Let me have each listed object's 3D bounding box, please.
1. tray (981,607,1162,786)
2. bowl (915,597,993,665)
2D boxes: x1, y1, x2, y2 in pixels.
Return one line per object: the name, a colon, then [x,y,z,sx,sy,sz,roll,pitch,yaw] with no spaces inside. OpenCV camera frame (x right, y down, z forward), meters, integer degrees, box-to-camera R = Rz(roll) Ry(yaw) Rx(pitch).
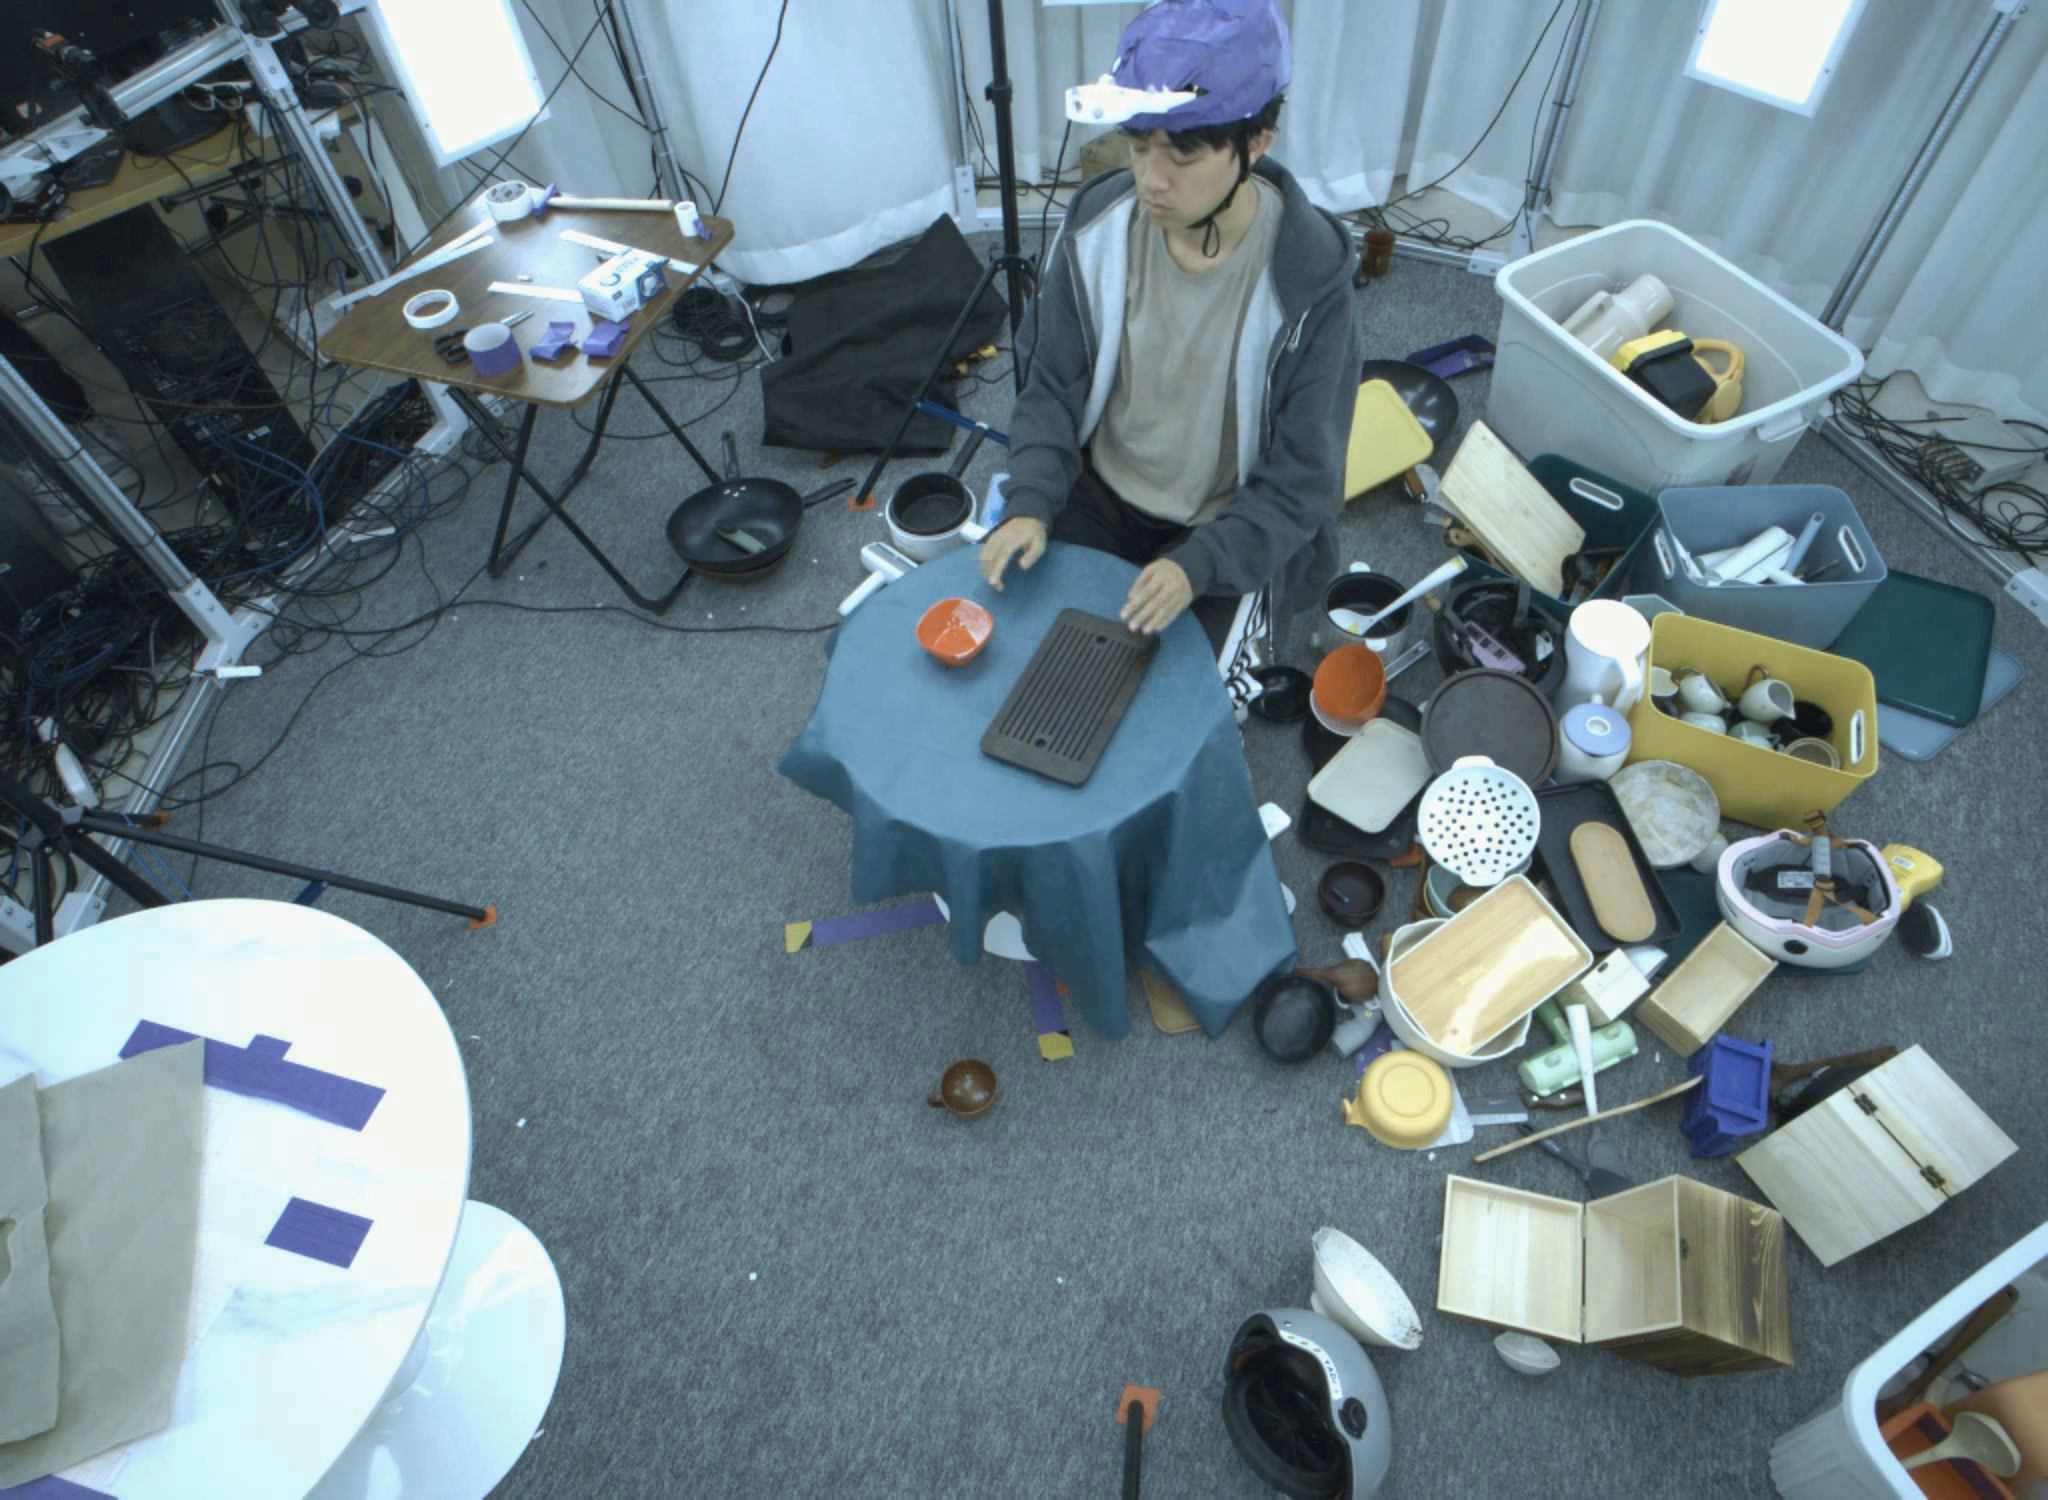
tray: [0.075,-0.085,1.837,0.168,0.019,0.306,20,57,16]
bowl: [-0.105,-0.175,1.884,0.119,0.052,0.118,-1,55,3]
